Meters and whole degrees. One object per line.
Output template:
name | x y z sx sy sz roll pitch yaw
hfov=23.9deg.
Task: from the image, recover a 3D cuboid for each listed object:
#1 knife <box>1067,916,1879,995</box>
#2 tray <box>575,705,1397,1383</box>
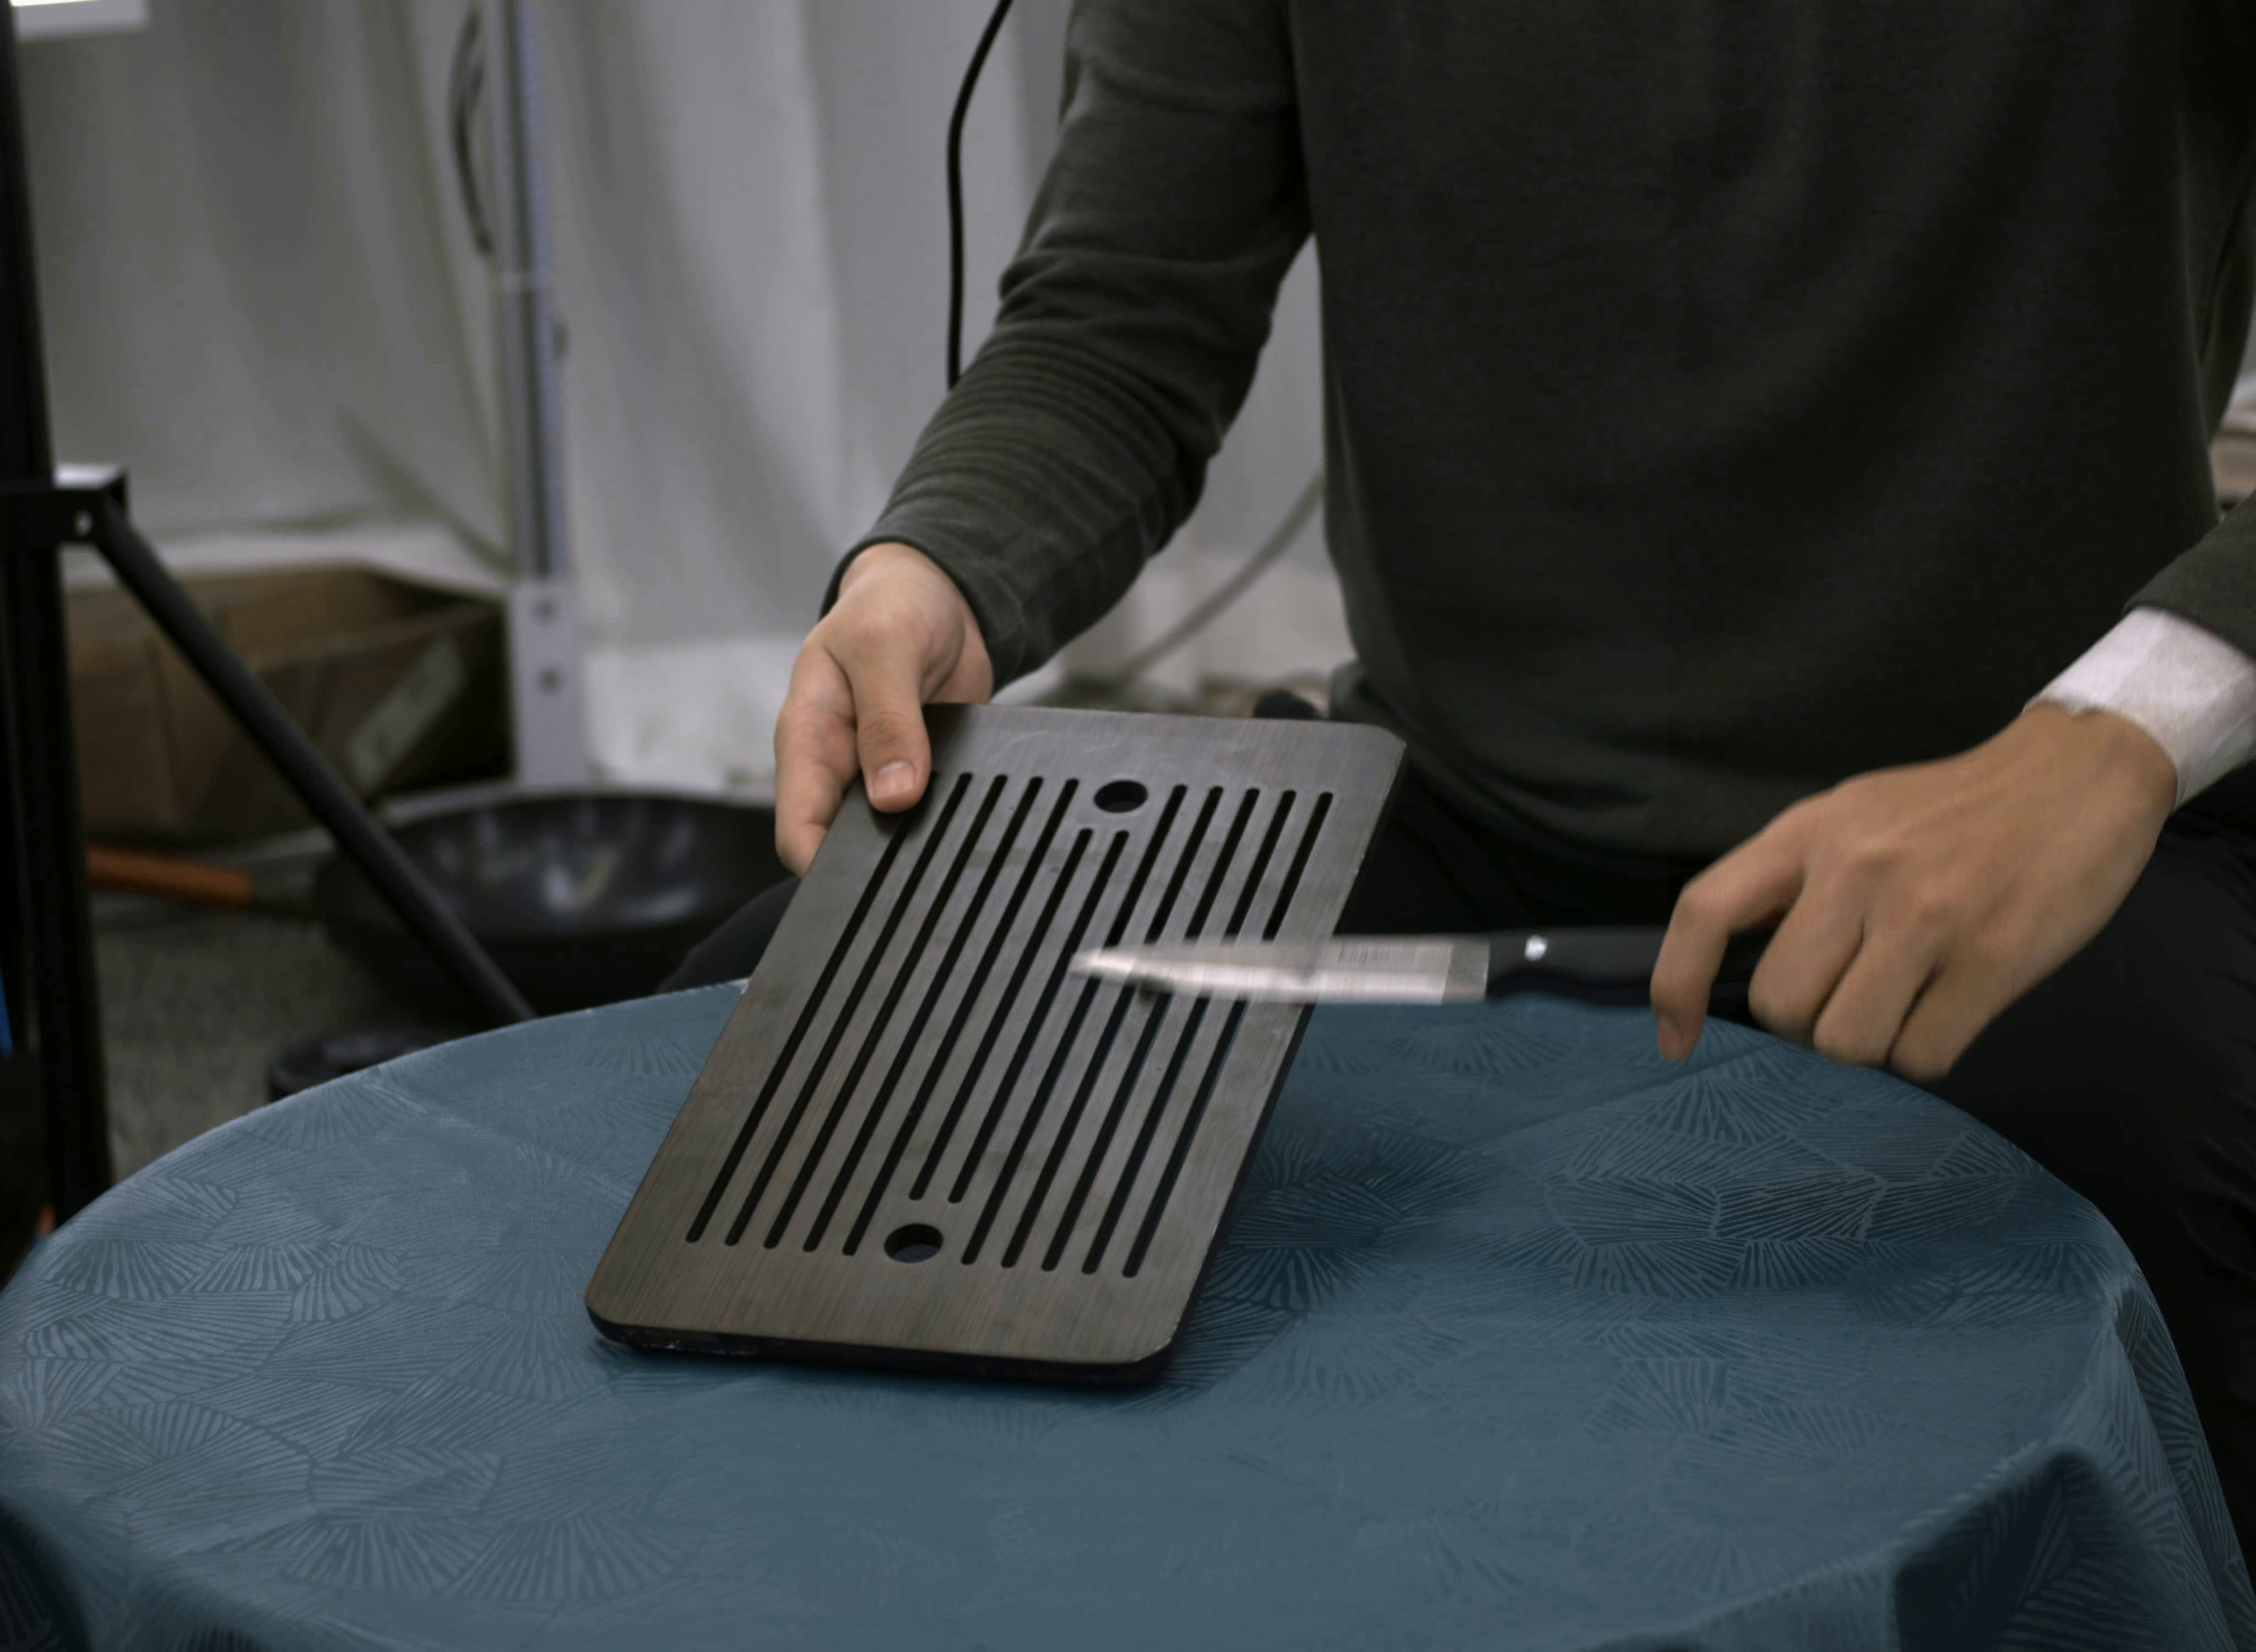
knife | 0.097 0.037 1.524 0.240 0.016 0.024 0 47 18
tray | -0.034 0.058 1.548 0.172 0.018 0.305 2 36 18
